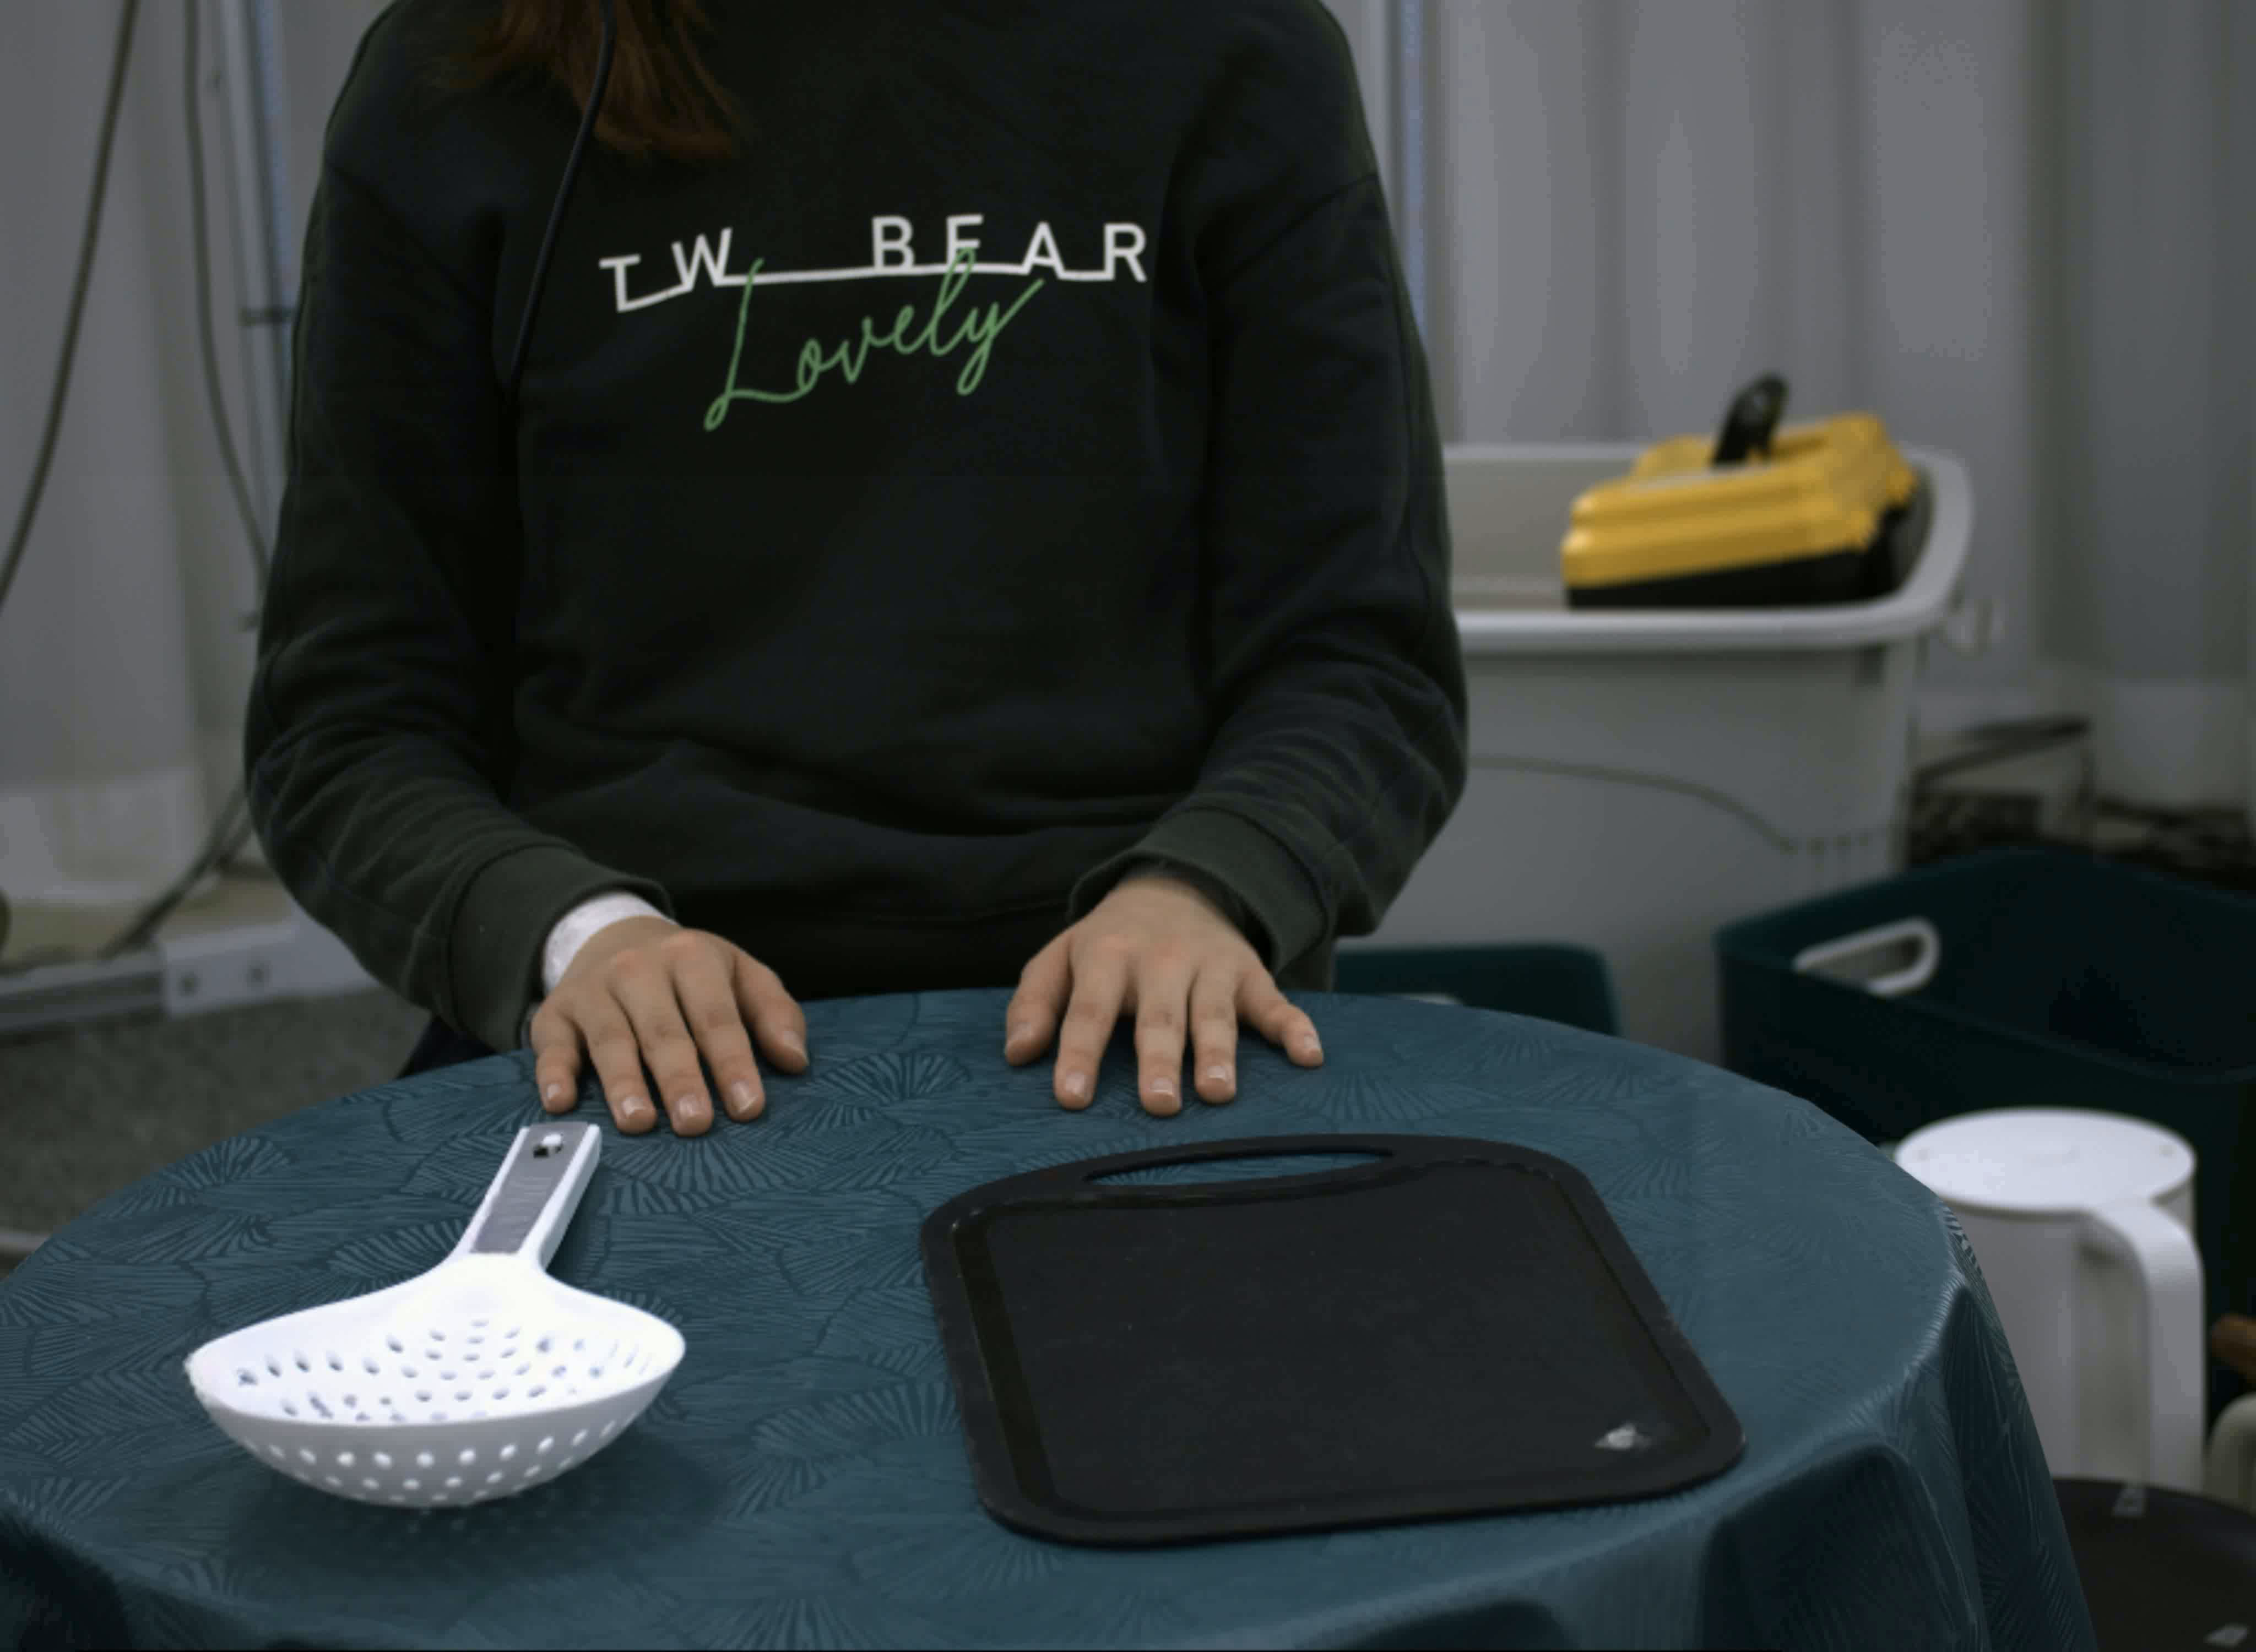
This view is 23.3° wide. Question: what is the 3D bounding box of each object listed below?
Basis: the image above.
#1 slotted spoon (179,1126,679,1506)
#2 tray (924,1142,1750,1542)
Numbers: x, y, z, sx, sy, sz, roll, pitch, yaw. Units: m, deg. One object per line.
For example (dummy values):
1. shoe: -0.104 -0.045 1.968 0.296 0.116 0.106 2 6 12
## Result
1. slotted spoon: -0.187 0.133 1.593 0.135 0.045 0.352 0 14 2
2. tray: 0.051 0.142 1.589 0.210 0.010 0.328 -4 15 -5
